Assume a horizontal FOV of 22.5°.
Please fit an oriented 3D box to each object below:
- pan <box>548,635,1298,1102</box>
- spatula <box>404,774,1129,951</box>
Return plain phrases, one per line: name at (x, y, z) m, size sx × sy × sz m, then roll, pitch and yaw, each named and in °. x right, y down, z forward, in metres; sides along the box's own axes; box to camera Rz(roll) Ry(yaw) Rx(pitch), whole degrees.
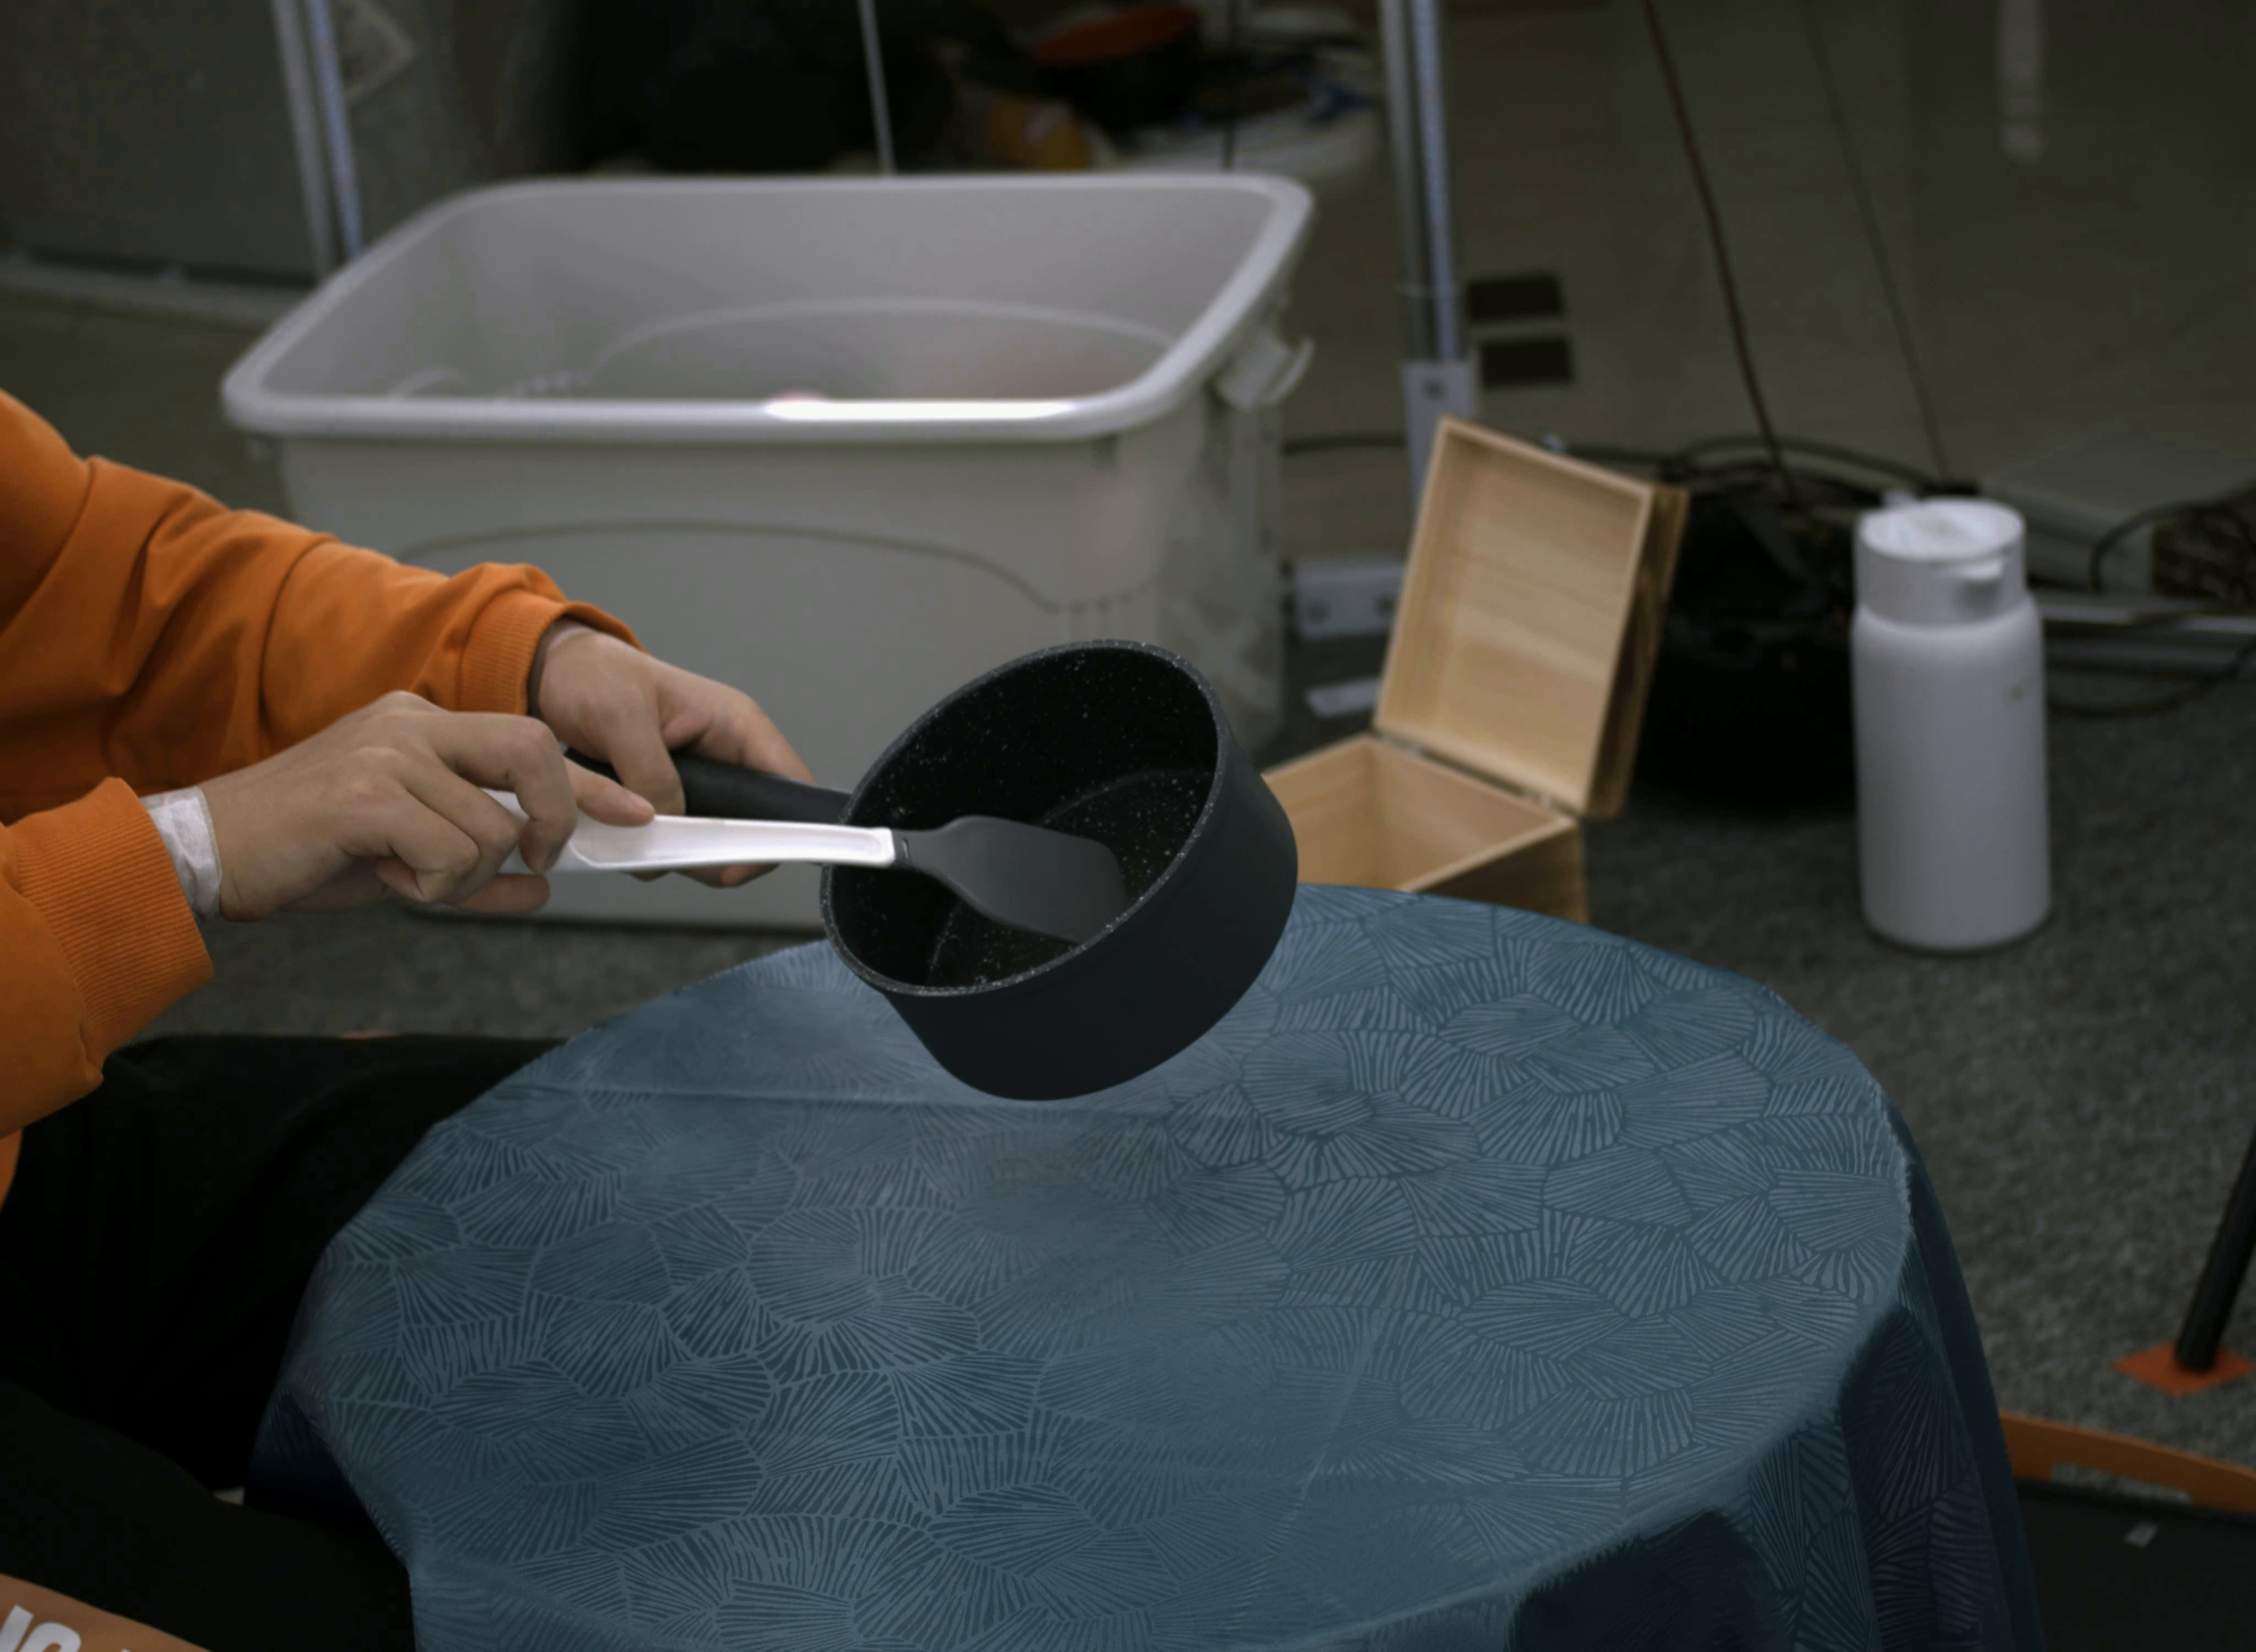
pan at (-0.085, 0.008, 2.172) m, size 0.327 × 0.088 × 0.170 m, roll 10°, pitch 57°, yaw 39°
spatula at (-0.123, 0.011, 2.066) m, size 0.288 × 0.033 × 0.058 m, roll 6°, pitch 51°, yaw -25°
